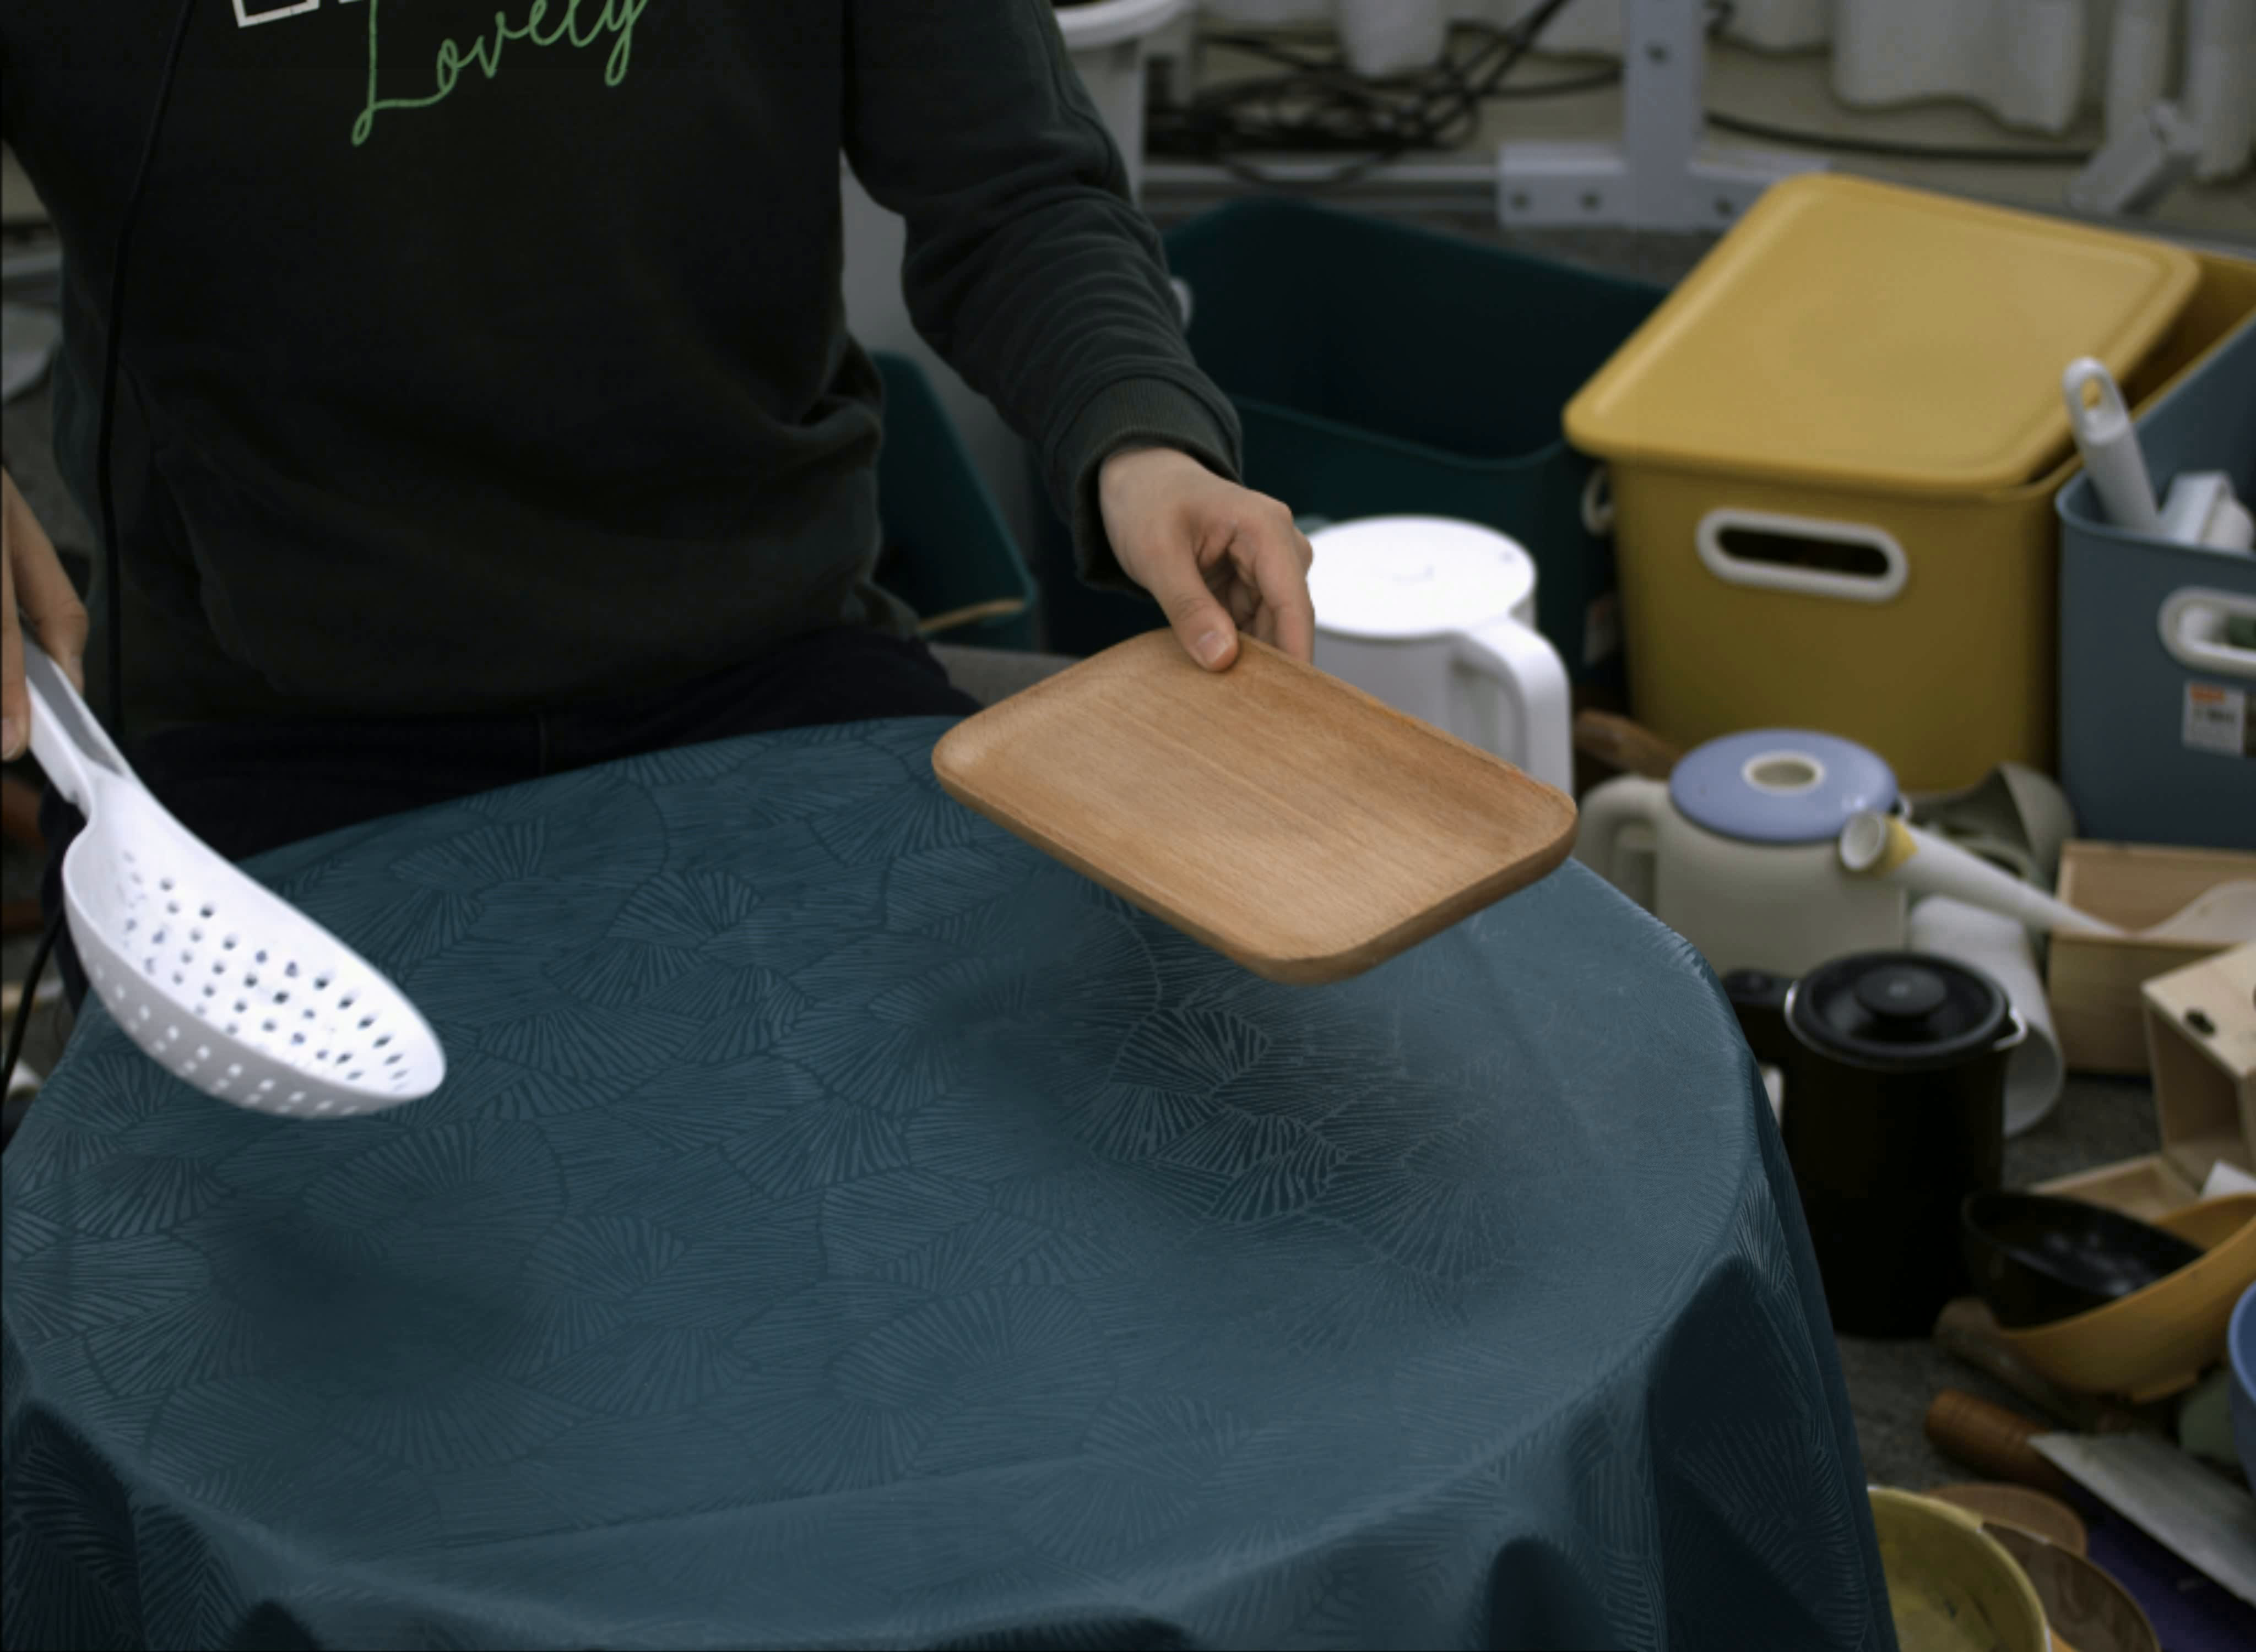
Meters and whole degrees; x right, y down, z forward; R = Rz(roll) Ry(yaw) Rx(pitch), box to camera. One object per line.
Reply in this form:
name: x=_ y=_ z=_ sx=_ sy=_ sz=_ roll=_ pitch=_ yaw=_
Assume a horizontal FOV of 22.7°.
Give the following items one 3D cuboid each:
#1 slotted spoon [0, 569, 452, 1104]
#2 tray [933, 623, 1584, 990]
slotted spoon: x=-0.327 y=-0.007 z=1.841 sx=0.135 sy=0.045 sz=0.353 roll=23 pitch=20 yaw=-42
tray: x=0.041 y=-0.009 z=1.892 sx=0.131 sy=0.022 sz=0.251 roll=-24 pitch=28 yaw=-24
